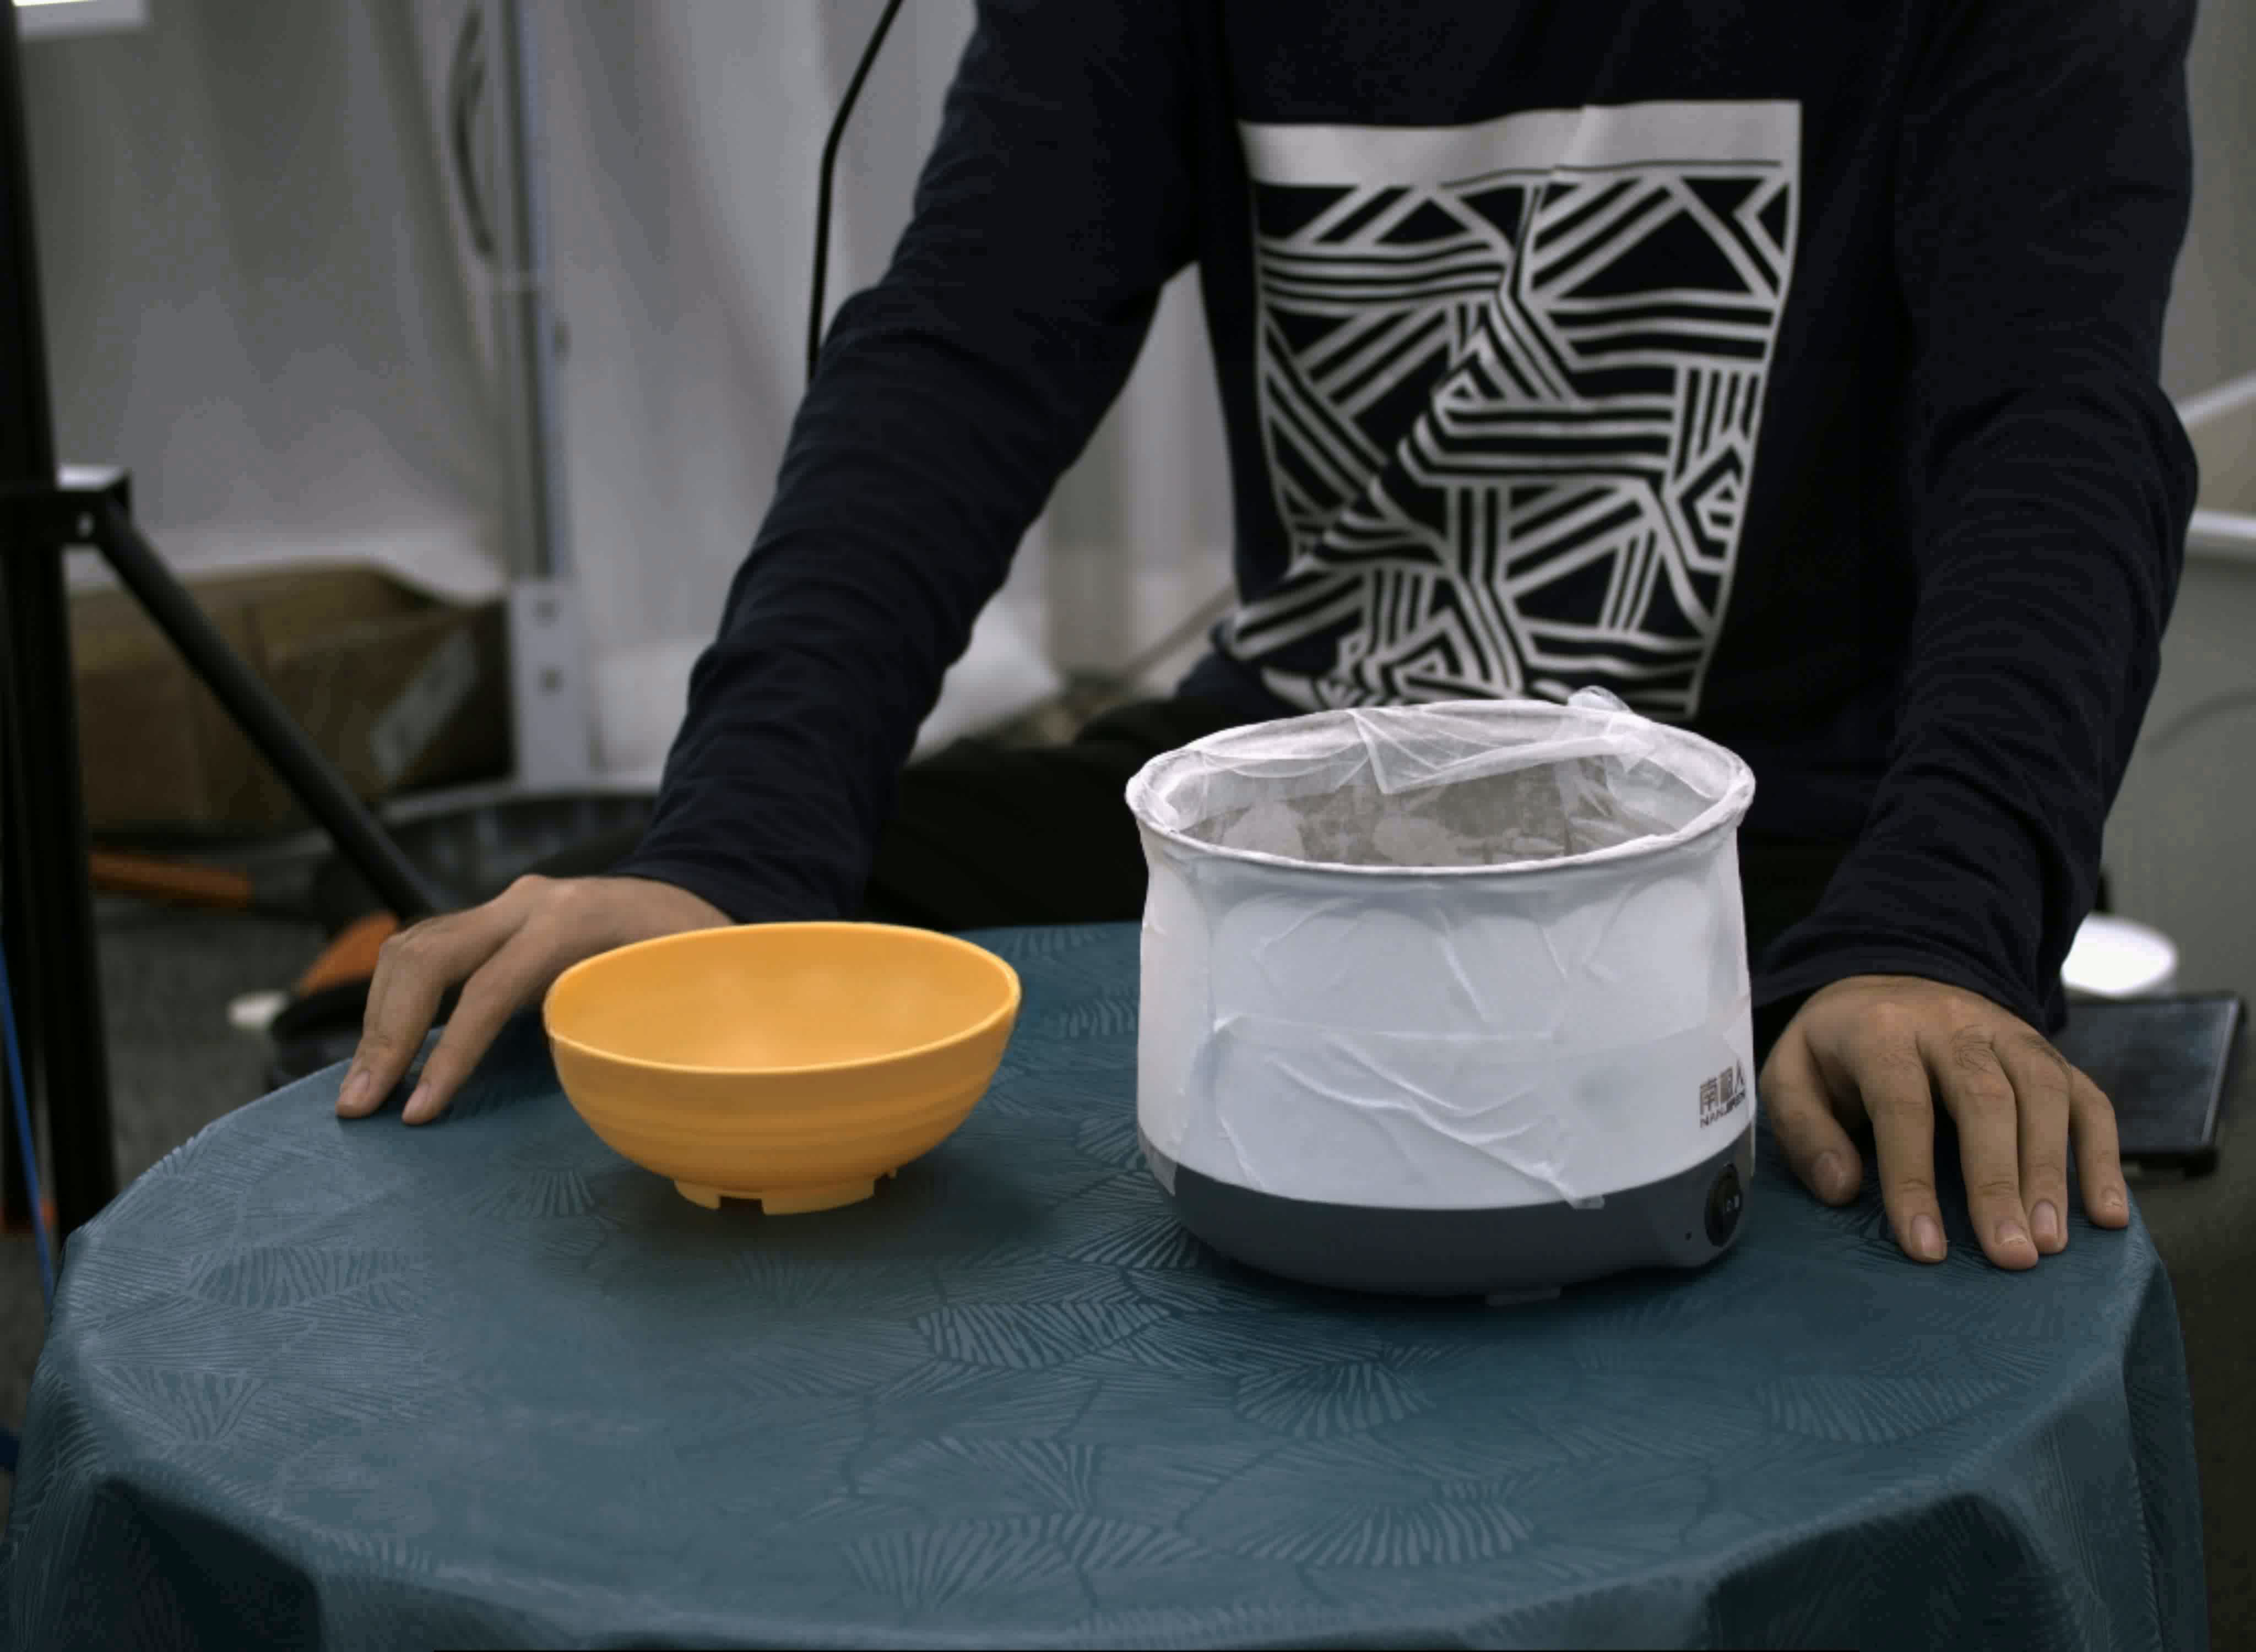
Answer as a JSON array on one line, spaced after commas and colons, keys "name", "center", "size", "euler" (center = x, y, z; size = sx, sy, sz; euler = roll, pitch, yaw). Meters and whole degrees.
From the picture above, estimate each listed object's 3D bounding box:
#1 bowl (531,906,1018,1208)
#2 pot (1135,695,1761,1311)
[{"name": "bowl", "center": [-0.104, 0.075, 1.582], "size": [0.144, 0.060, 0.146], "euler": [-2, 17, -1]}, {"name": "pot", "center": [0.104, 0.044, 1.529], "size": [0.182, 0.136, 0.229], "euler": [7, 17, 30]}]
